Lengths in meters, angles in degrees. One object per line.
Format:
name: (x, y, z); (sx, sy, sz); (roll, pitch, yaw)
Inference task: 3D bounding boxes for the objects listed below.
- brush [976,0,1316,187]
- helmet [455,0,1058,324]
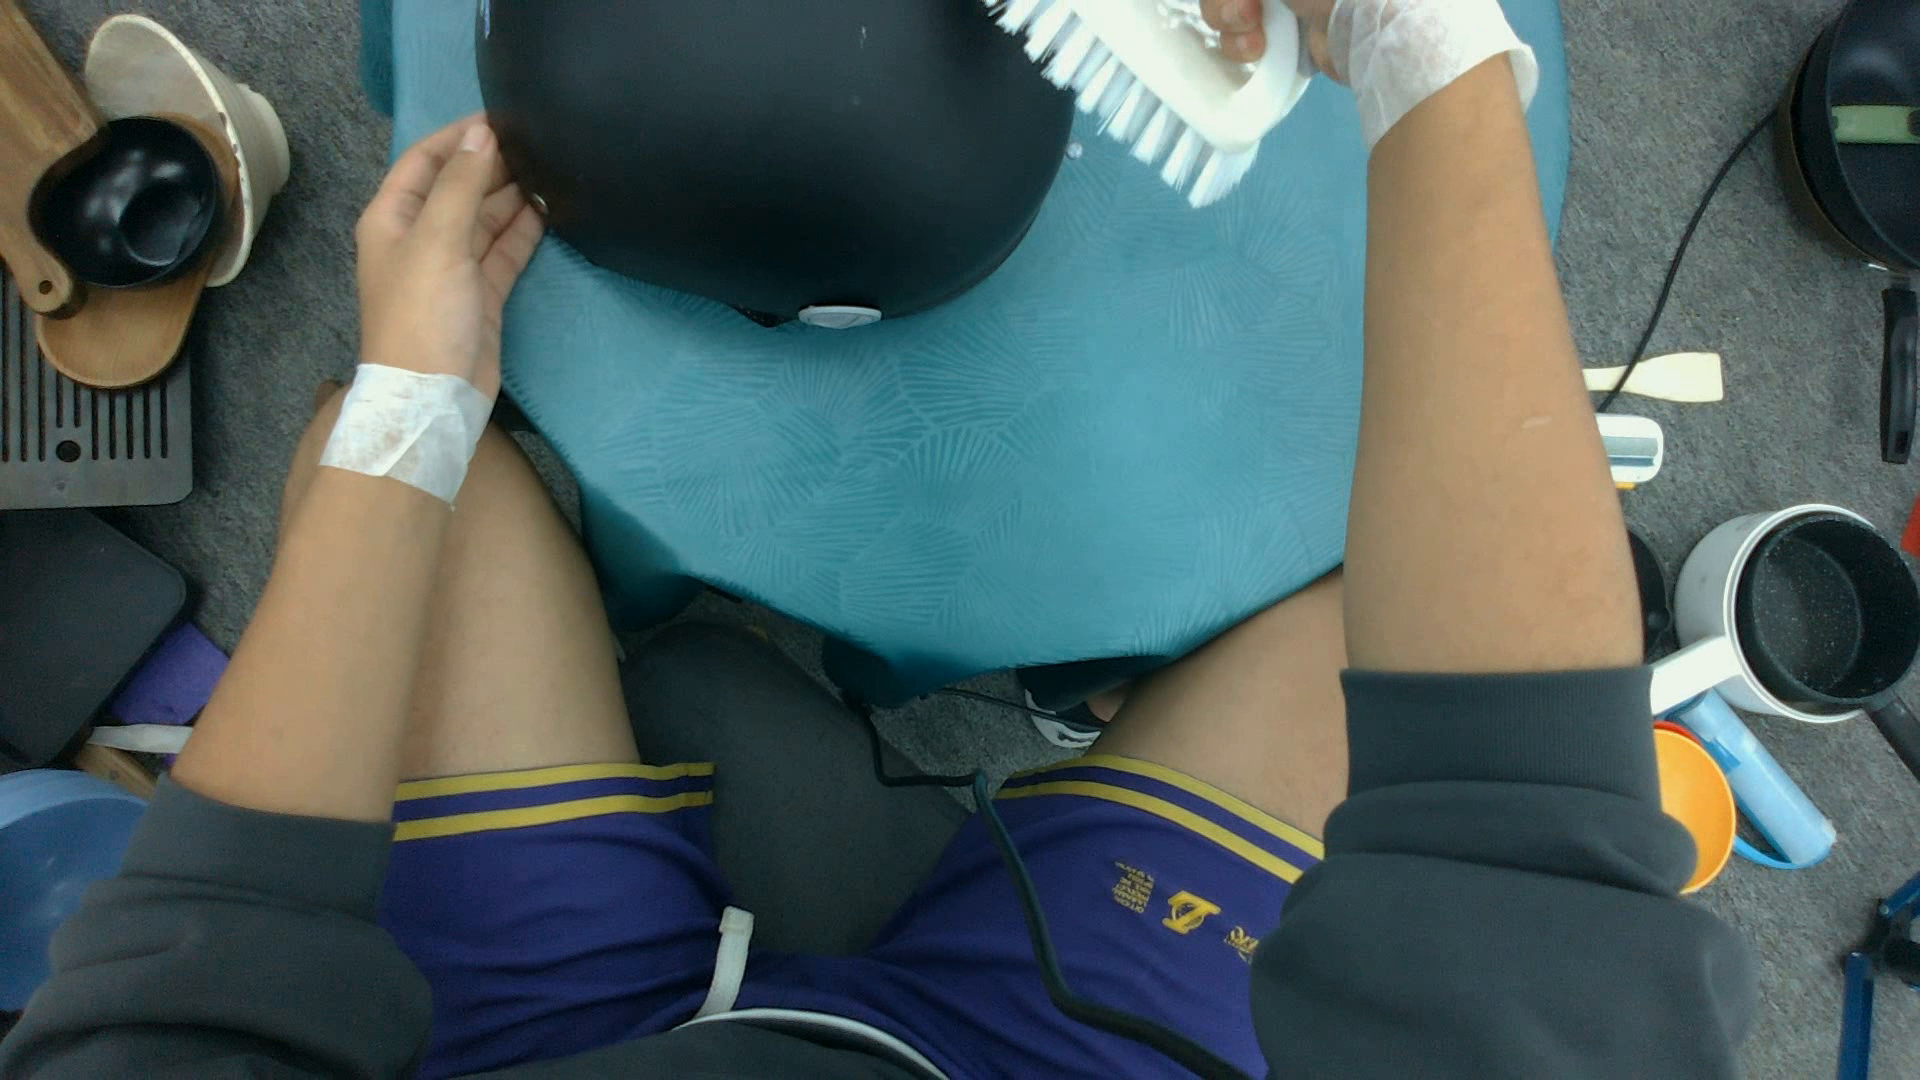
brush: (0.052, -0.216, 0.495); (0.175, 0.093, 0.062); (43, 50, 4)
helmet: (-0.077, -0.218, 0.587); (0.273, 0.166, 0.230); (11, 85, -13)
